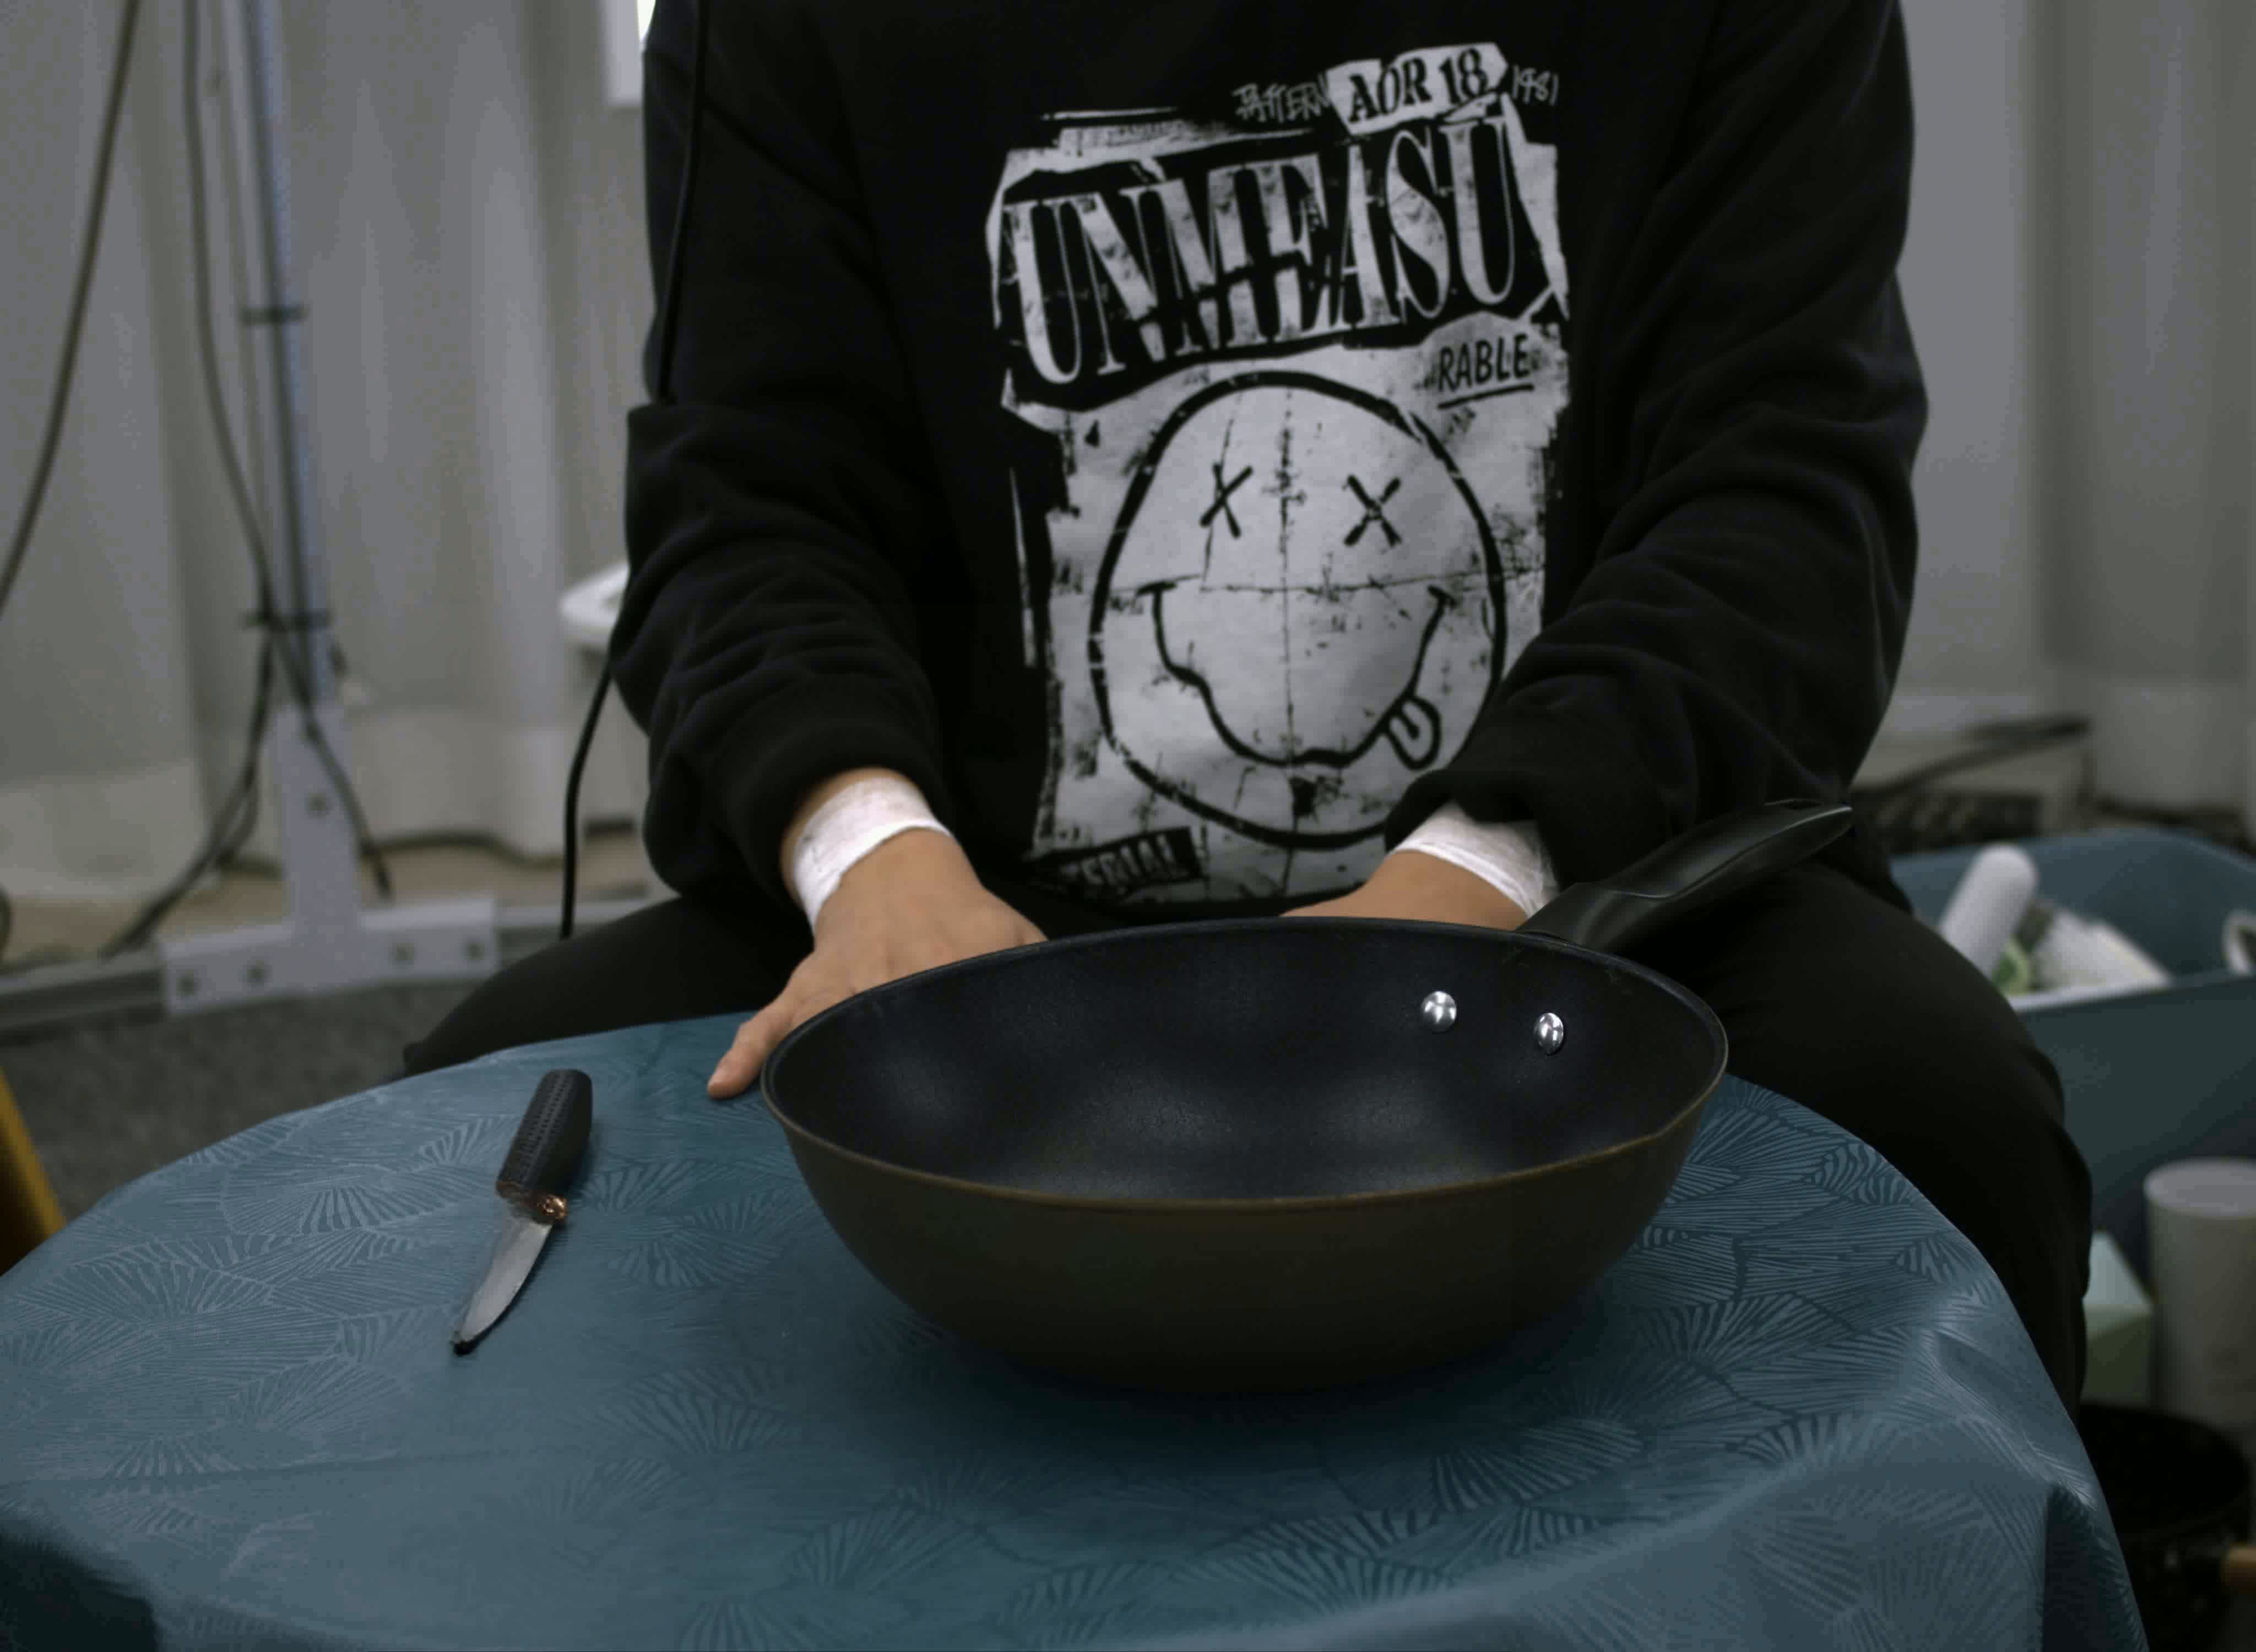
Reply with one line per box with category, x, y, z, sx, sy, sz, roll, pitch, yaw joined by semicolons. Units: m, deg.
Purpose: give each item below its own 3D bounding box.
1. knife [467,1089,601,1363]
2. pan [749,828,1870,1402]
knife;-0.187;0.123;1.703;0.026;0.017;0.227;13;16;-1
pan;0.088;0.084;1.660;0.289;0.086;0.463;9;18;38
